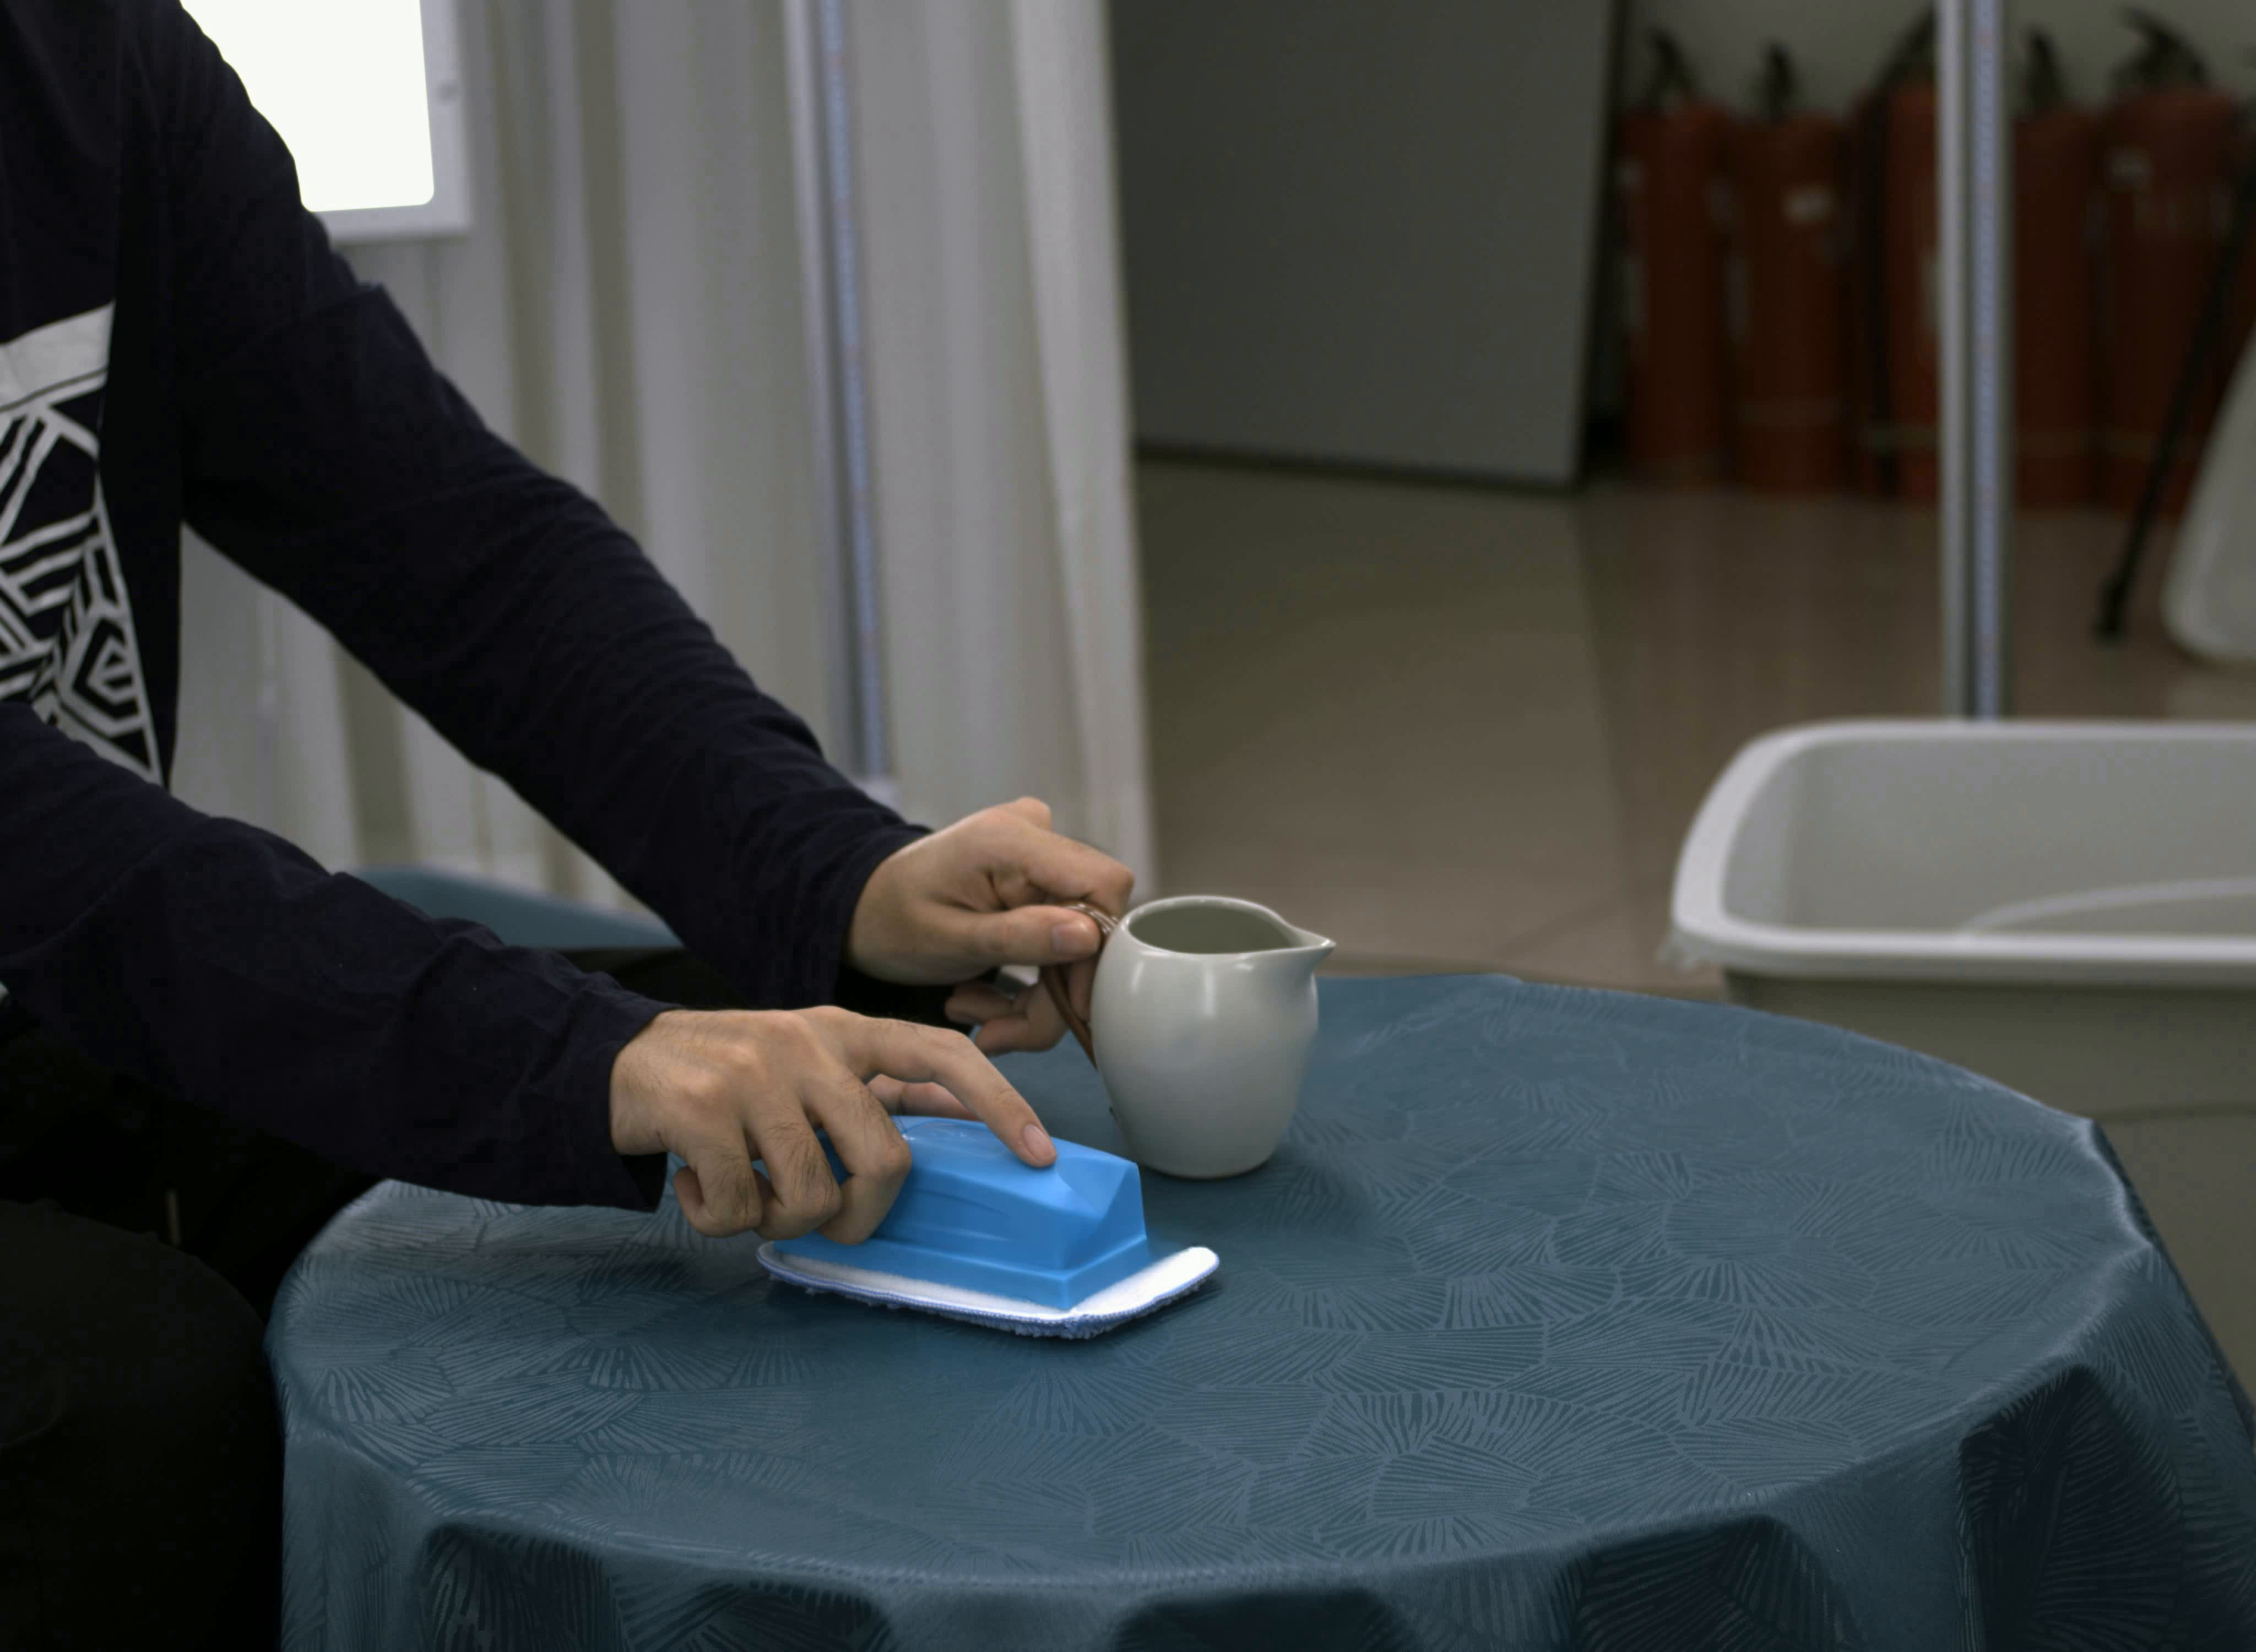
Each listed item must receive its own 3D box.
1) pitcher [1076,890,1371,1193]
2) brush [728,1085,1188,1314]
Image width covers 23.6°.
[{"bbox_3d":[0.027,0.070,1.783,0.120,0.089,0.074,21,25,35],"label":"pitcher"},{"bbox_3d":[-0.053,0.115,1.687,0.145,0.056,0.082,11,17,39],"label":"brush"}]
